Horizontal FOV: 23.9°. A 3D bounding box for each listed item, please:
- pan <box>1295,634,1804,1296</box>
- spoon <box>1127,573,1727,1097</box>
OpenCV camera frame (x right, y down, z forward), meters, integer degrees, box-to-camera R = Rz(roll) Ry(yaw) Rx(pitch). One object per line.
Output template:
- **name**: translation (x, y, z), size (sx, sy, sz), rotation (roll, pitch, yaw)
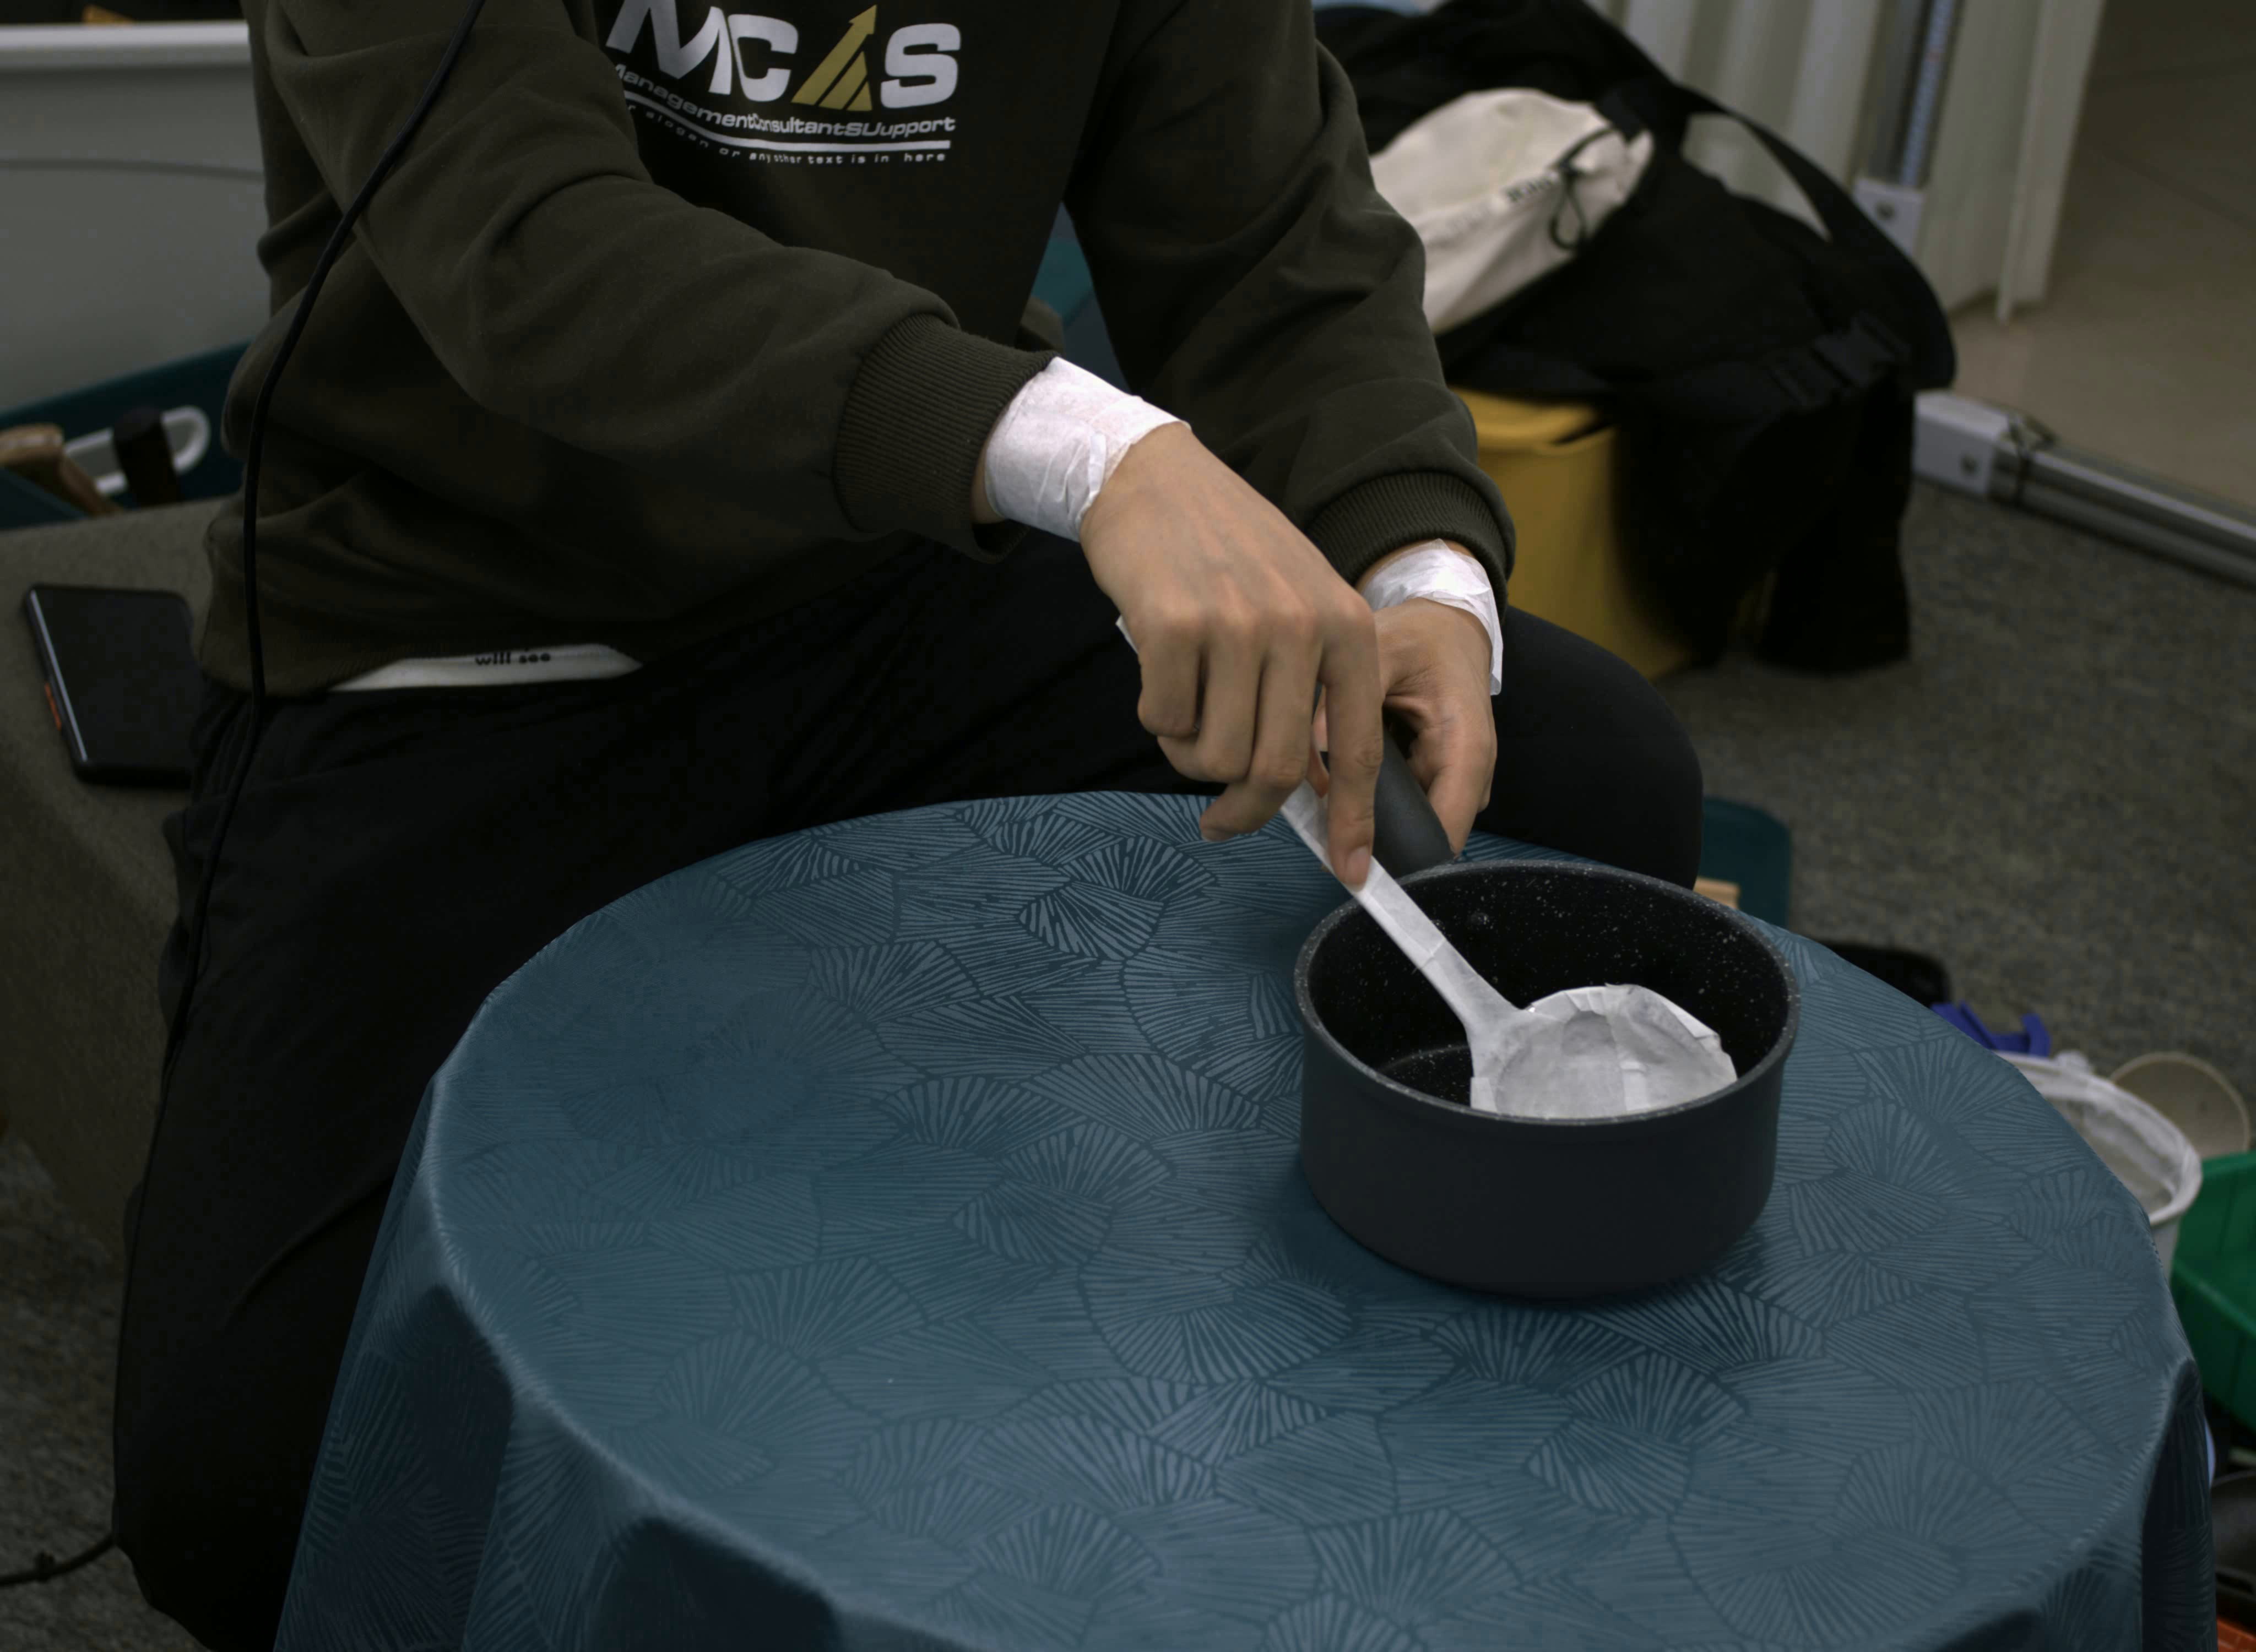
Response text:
- **pan**: translation (0.120, 0.045, 1.878), size (0.171, 0.086, 0.331), rotation (-6, 31, -14)
- **spoon**: translation (0.102, 0.016, 1.799), size (0.100, 0.276, 0.059), rotation (-44, 11, -26)
